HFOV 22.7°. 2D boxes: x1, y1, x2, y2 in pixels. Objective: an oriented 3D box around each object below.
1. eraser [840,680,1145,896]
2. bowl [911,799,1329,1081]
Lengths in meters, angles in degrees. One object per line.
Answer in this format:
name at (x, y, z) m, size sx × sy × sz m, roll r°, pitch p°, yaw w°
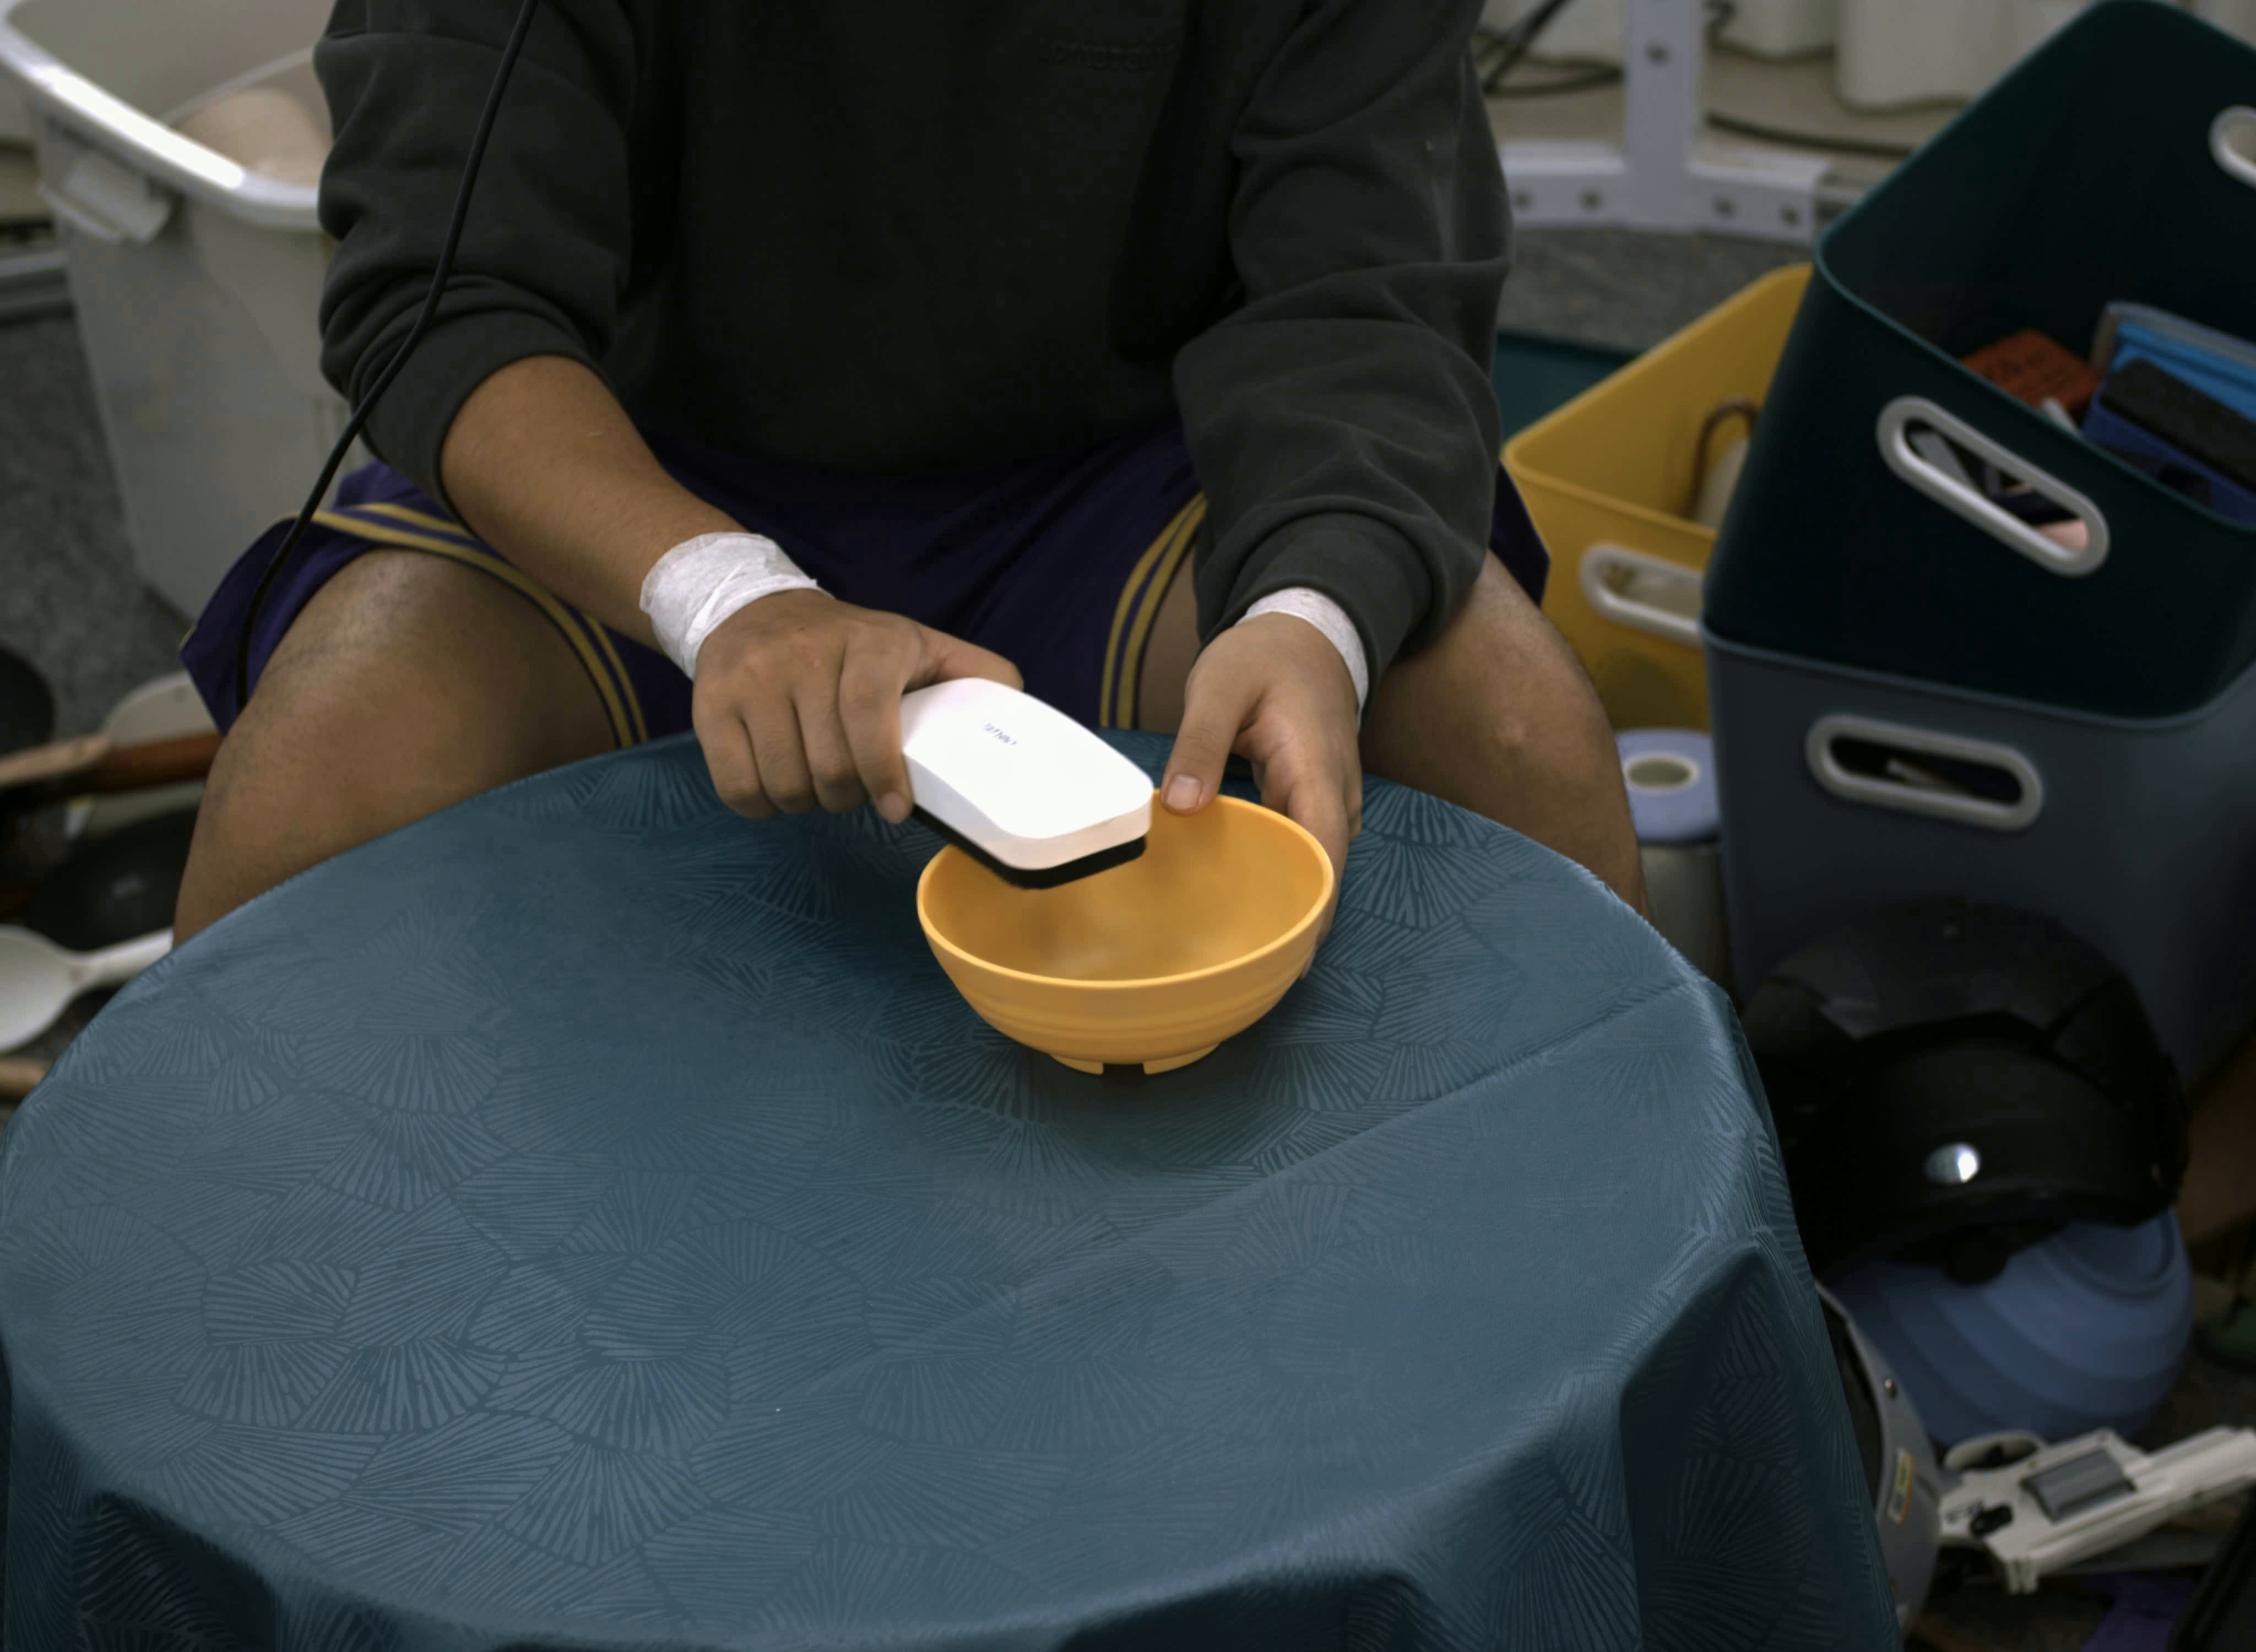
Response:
eraser at (-0.047, -0.017, 1.978) m, size 0.064 × 0.034 × 0.132 m, roll -17°, pitch 30°, yaw -27°
bowl at (-0.002, 0.047, 1.945) m, size 0.144 × 0.059 × 0.147 m, roll -2°, pitch 24°, yaw 1°
